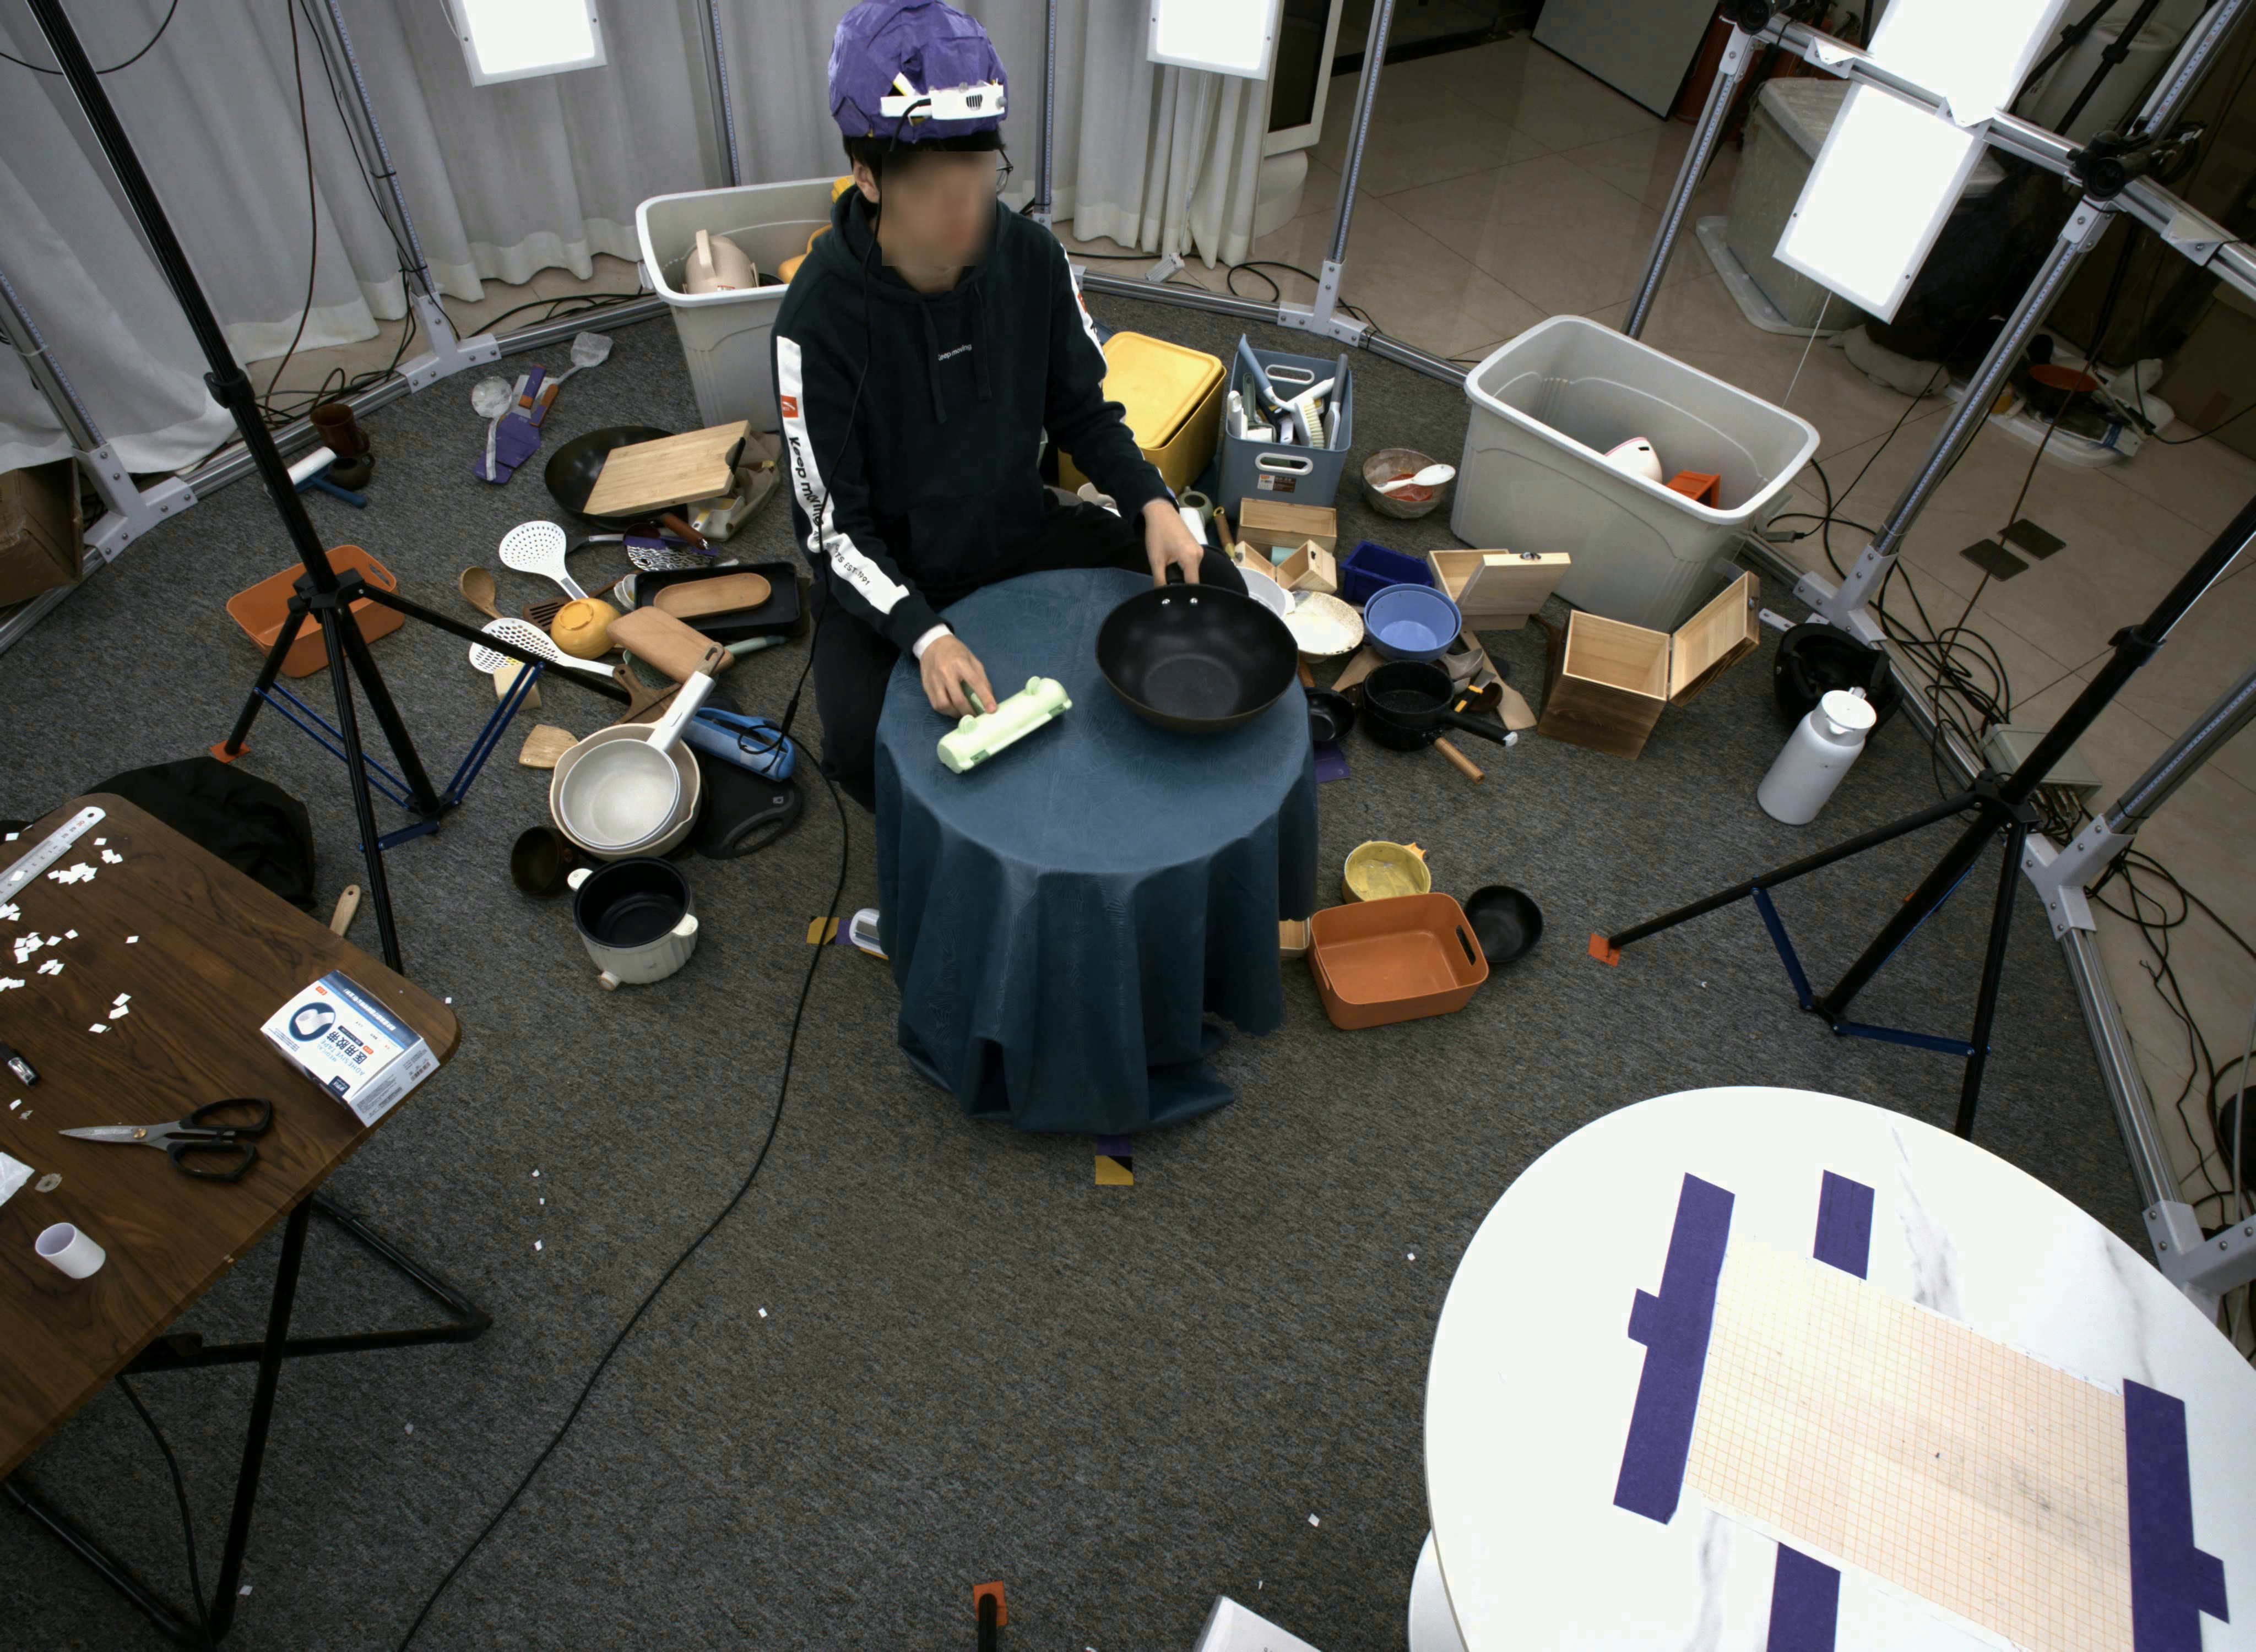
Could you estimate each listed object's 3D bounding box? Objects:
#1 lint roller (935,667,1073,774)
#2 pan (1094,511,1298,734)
[{"bbox_3d":[-0.204,-0.178,1.760,0.200,0.080,0.186,-33,64,-28],"label":"lint roller"},{"bbox_3d":[0.079,-0.291,1.872,0.288,0.085,0.475,-5,49,-8],"label":"pan"}]
